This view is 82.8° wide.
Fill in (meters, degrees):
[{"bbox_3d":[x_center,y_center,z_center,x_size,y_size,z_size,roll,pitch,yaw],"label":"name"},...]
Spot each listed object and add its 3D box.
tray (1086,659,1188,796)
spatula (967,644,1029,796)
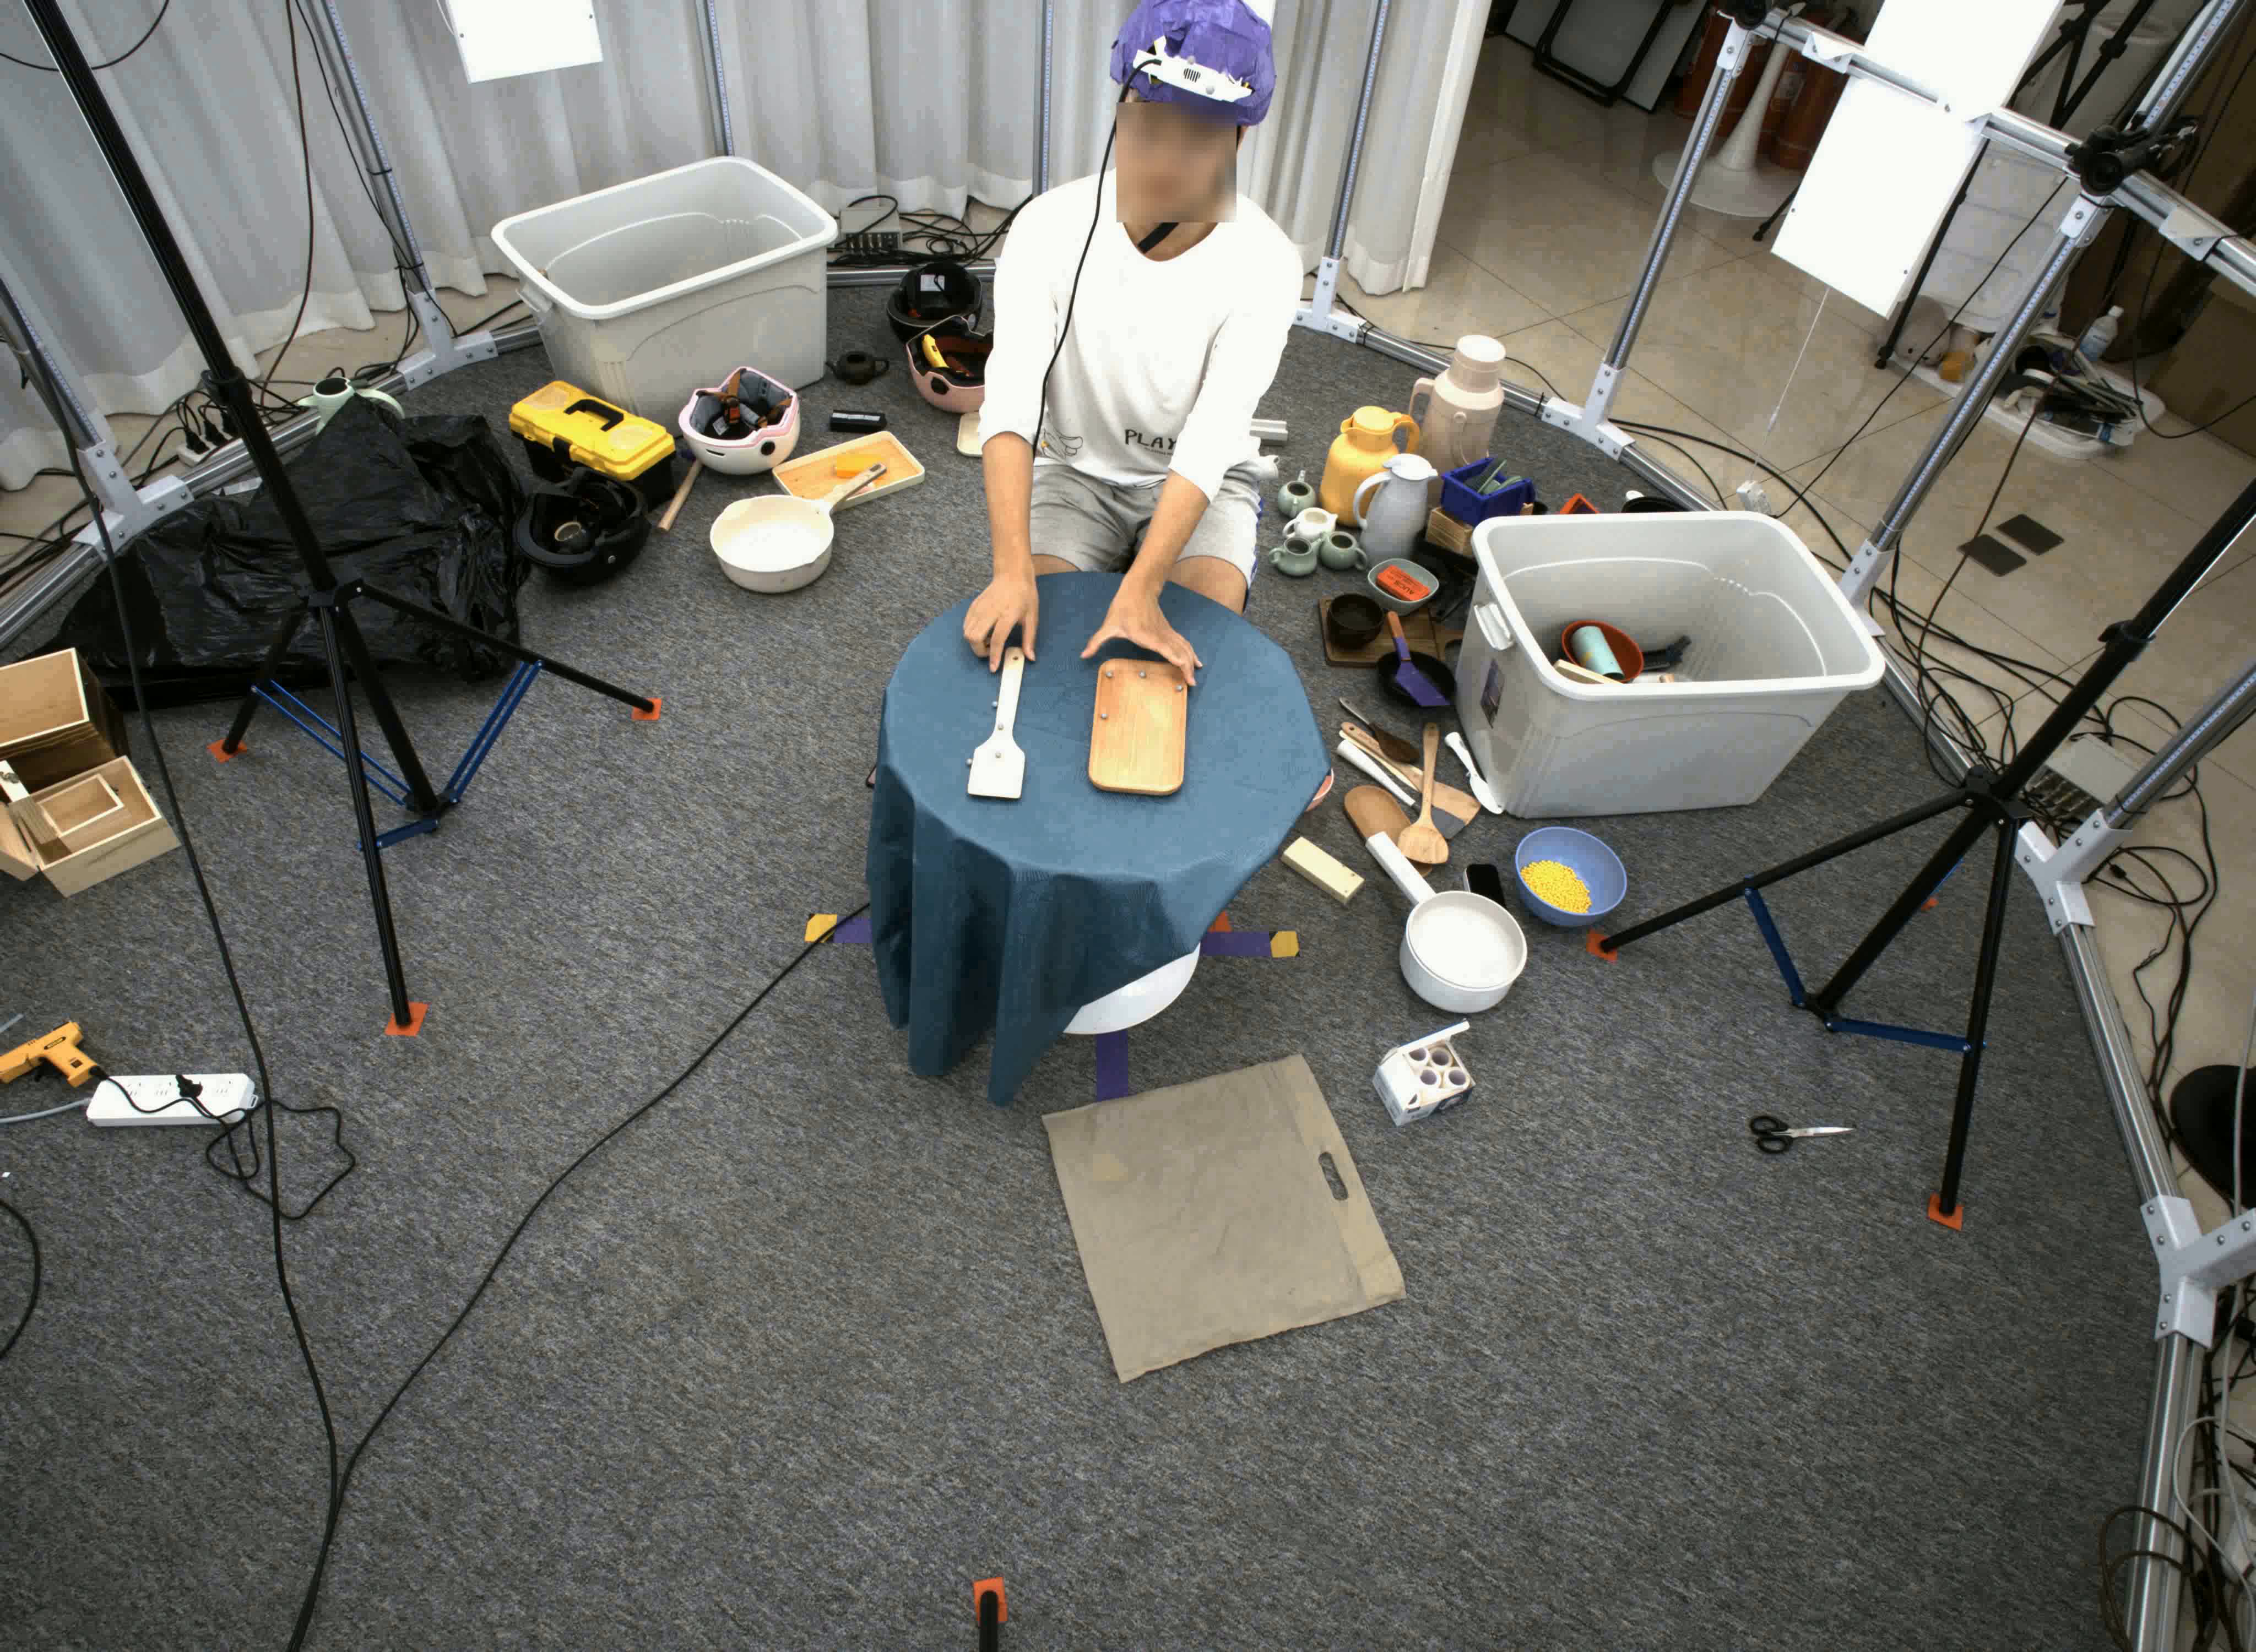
[{"bbox_3d":[0.015,-0.140,1.776,0.130,0.022,0.257,4,49,3],"label":"tray"},{"bbox_3d":[-0.168,-0.152,1.778,0.072,0.010,0.300,5,49,0],"label":"spatula"}]
